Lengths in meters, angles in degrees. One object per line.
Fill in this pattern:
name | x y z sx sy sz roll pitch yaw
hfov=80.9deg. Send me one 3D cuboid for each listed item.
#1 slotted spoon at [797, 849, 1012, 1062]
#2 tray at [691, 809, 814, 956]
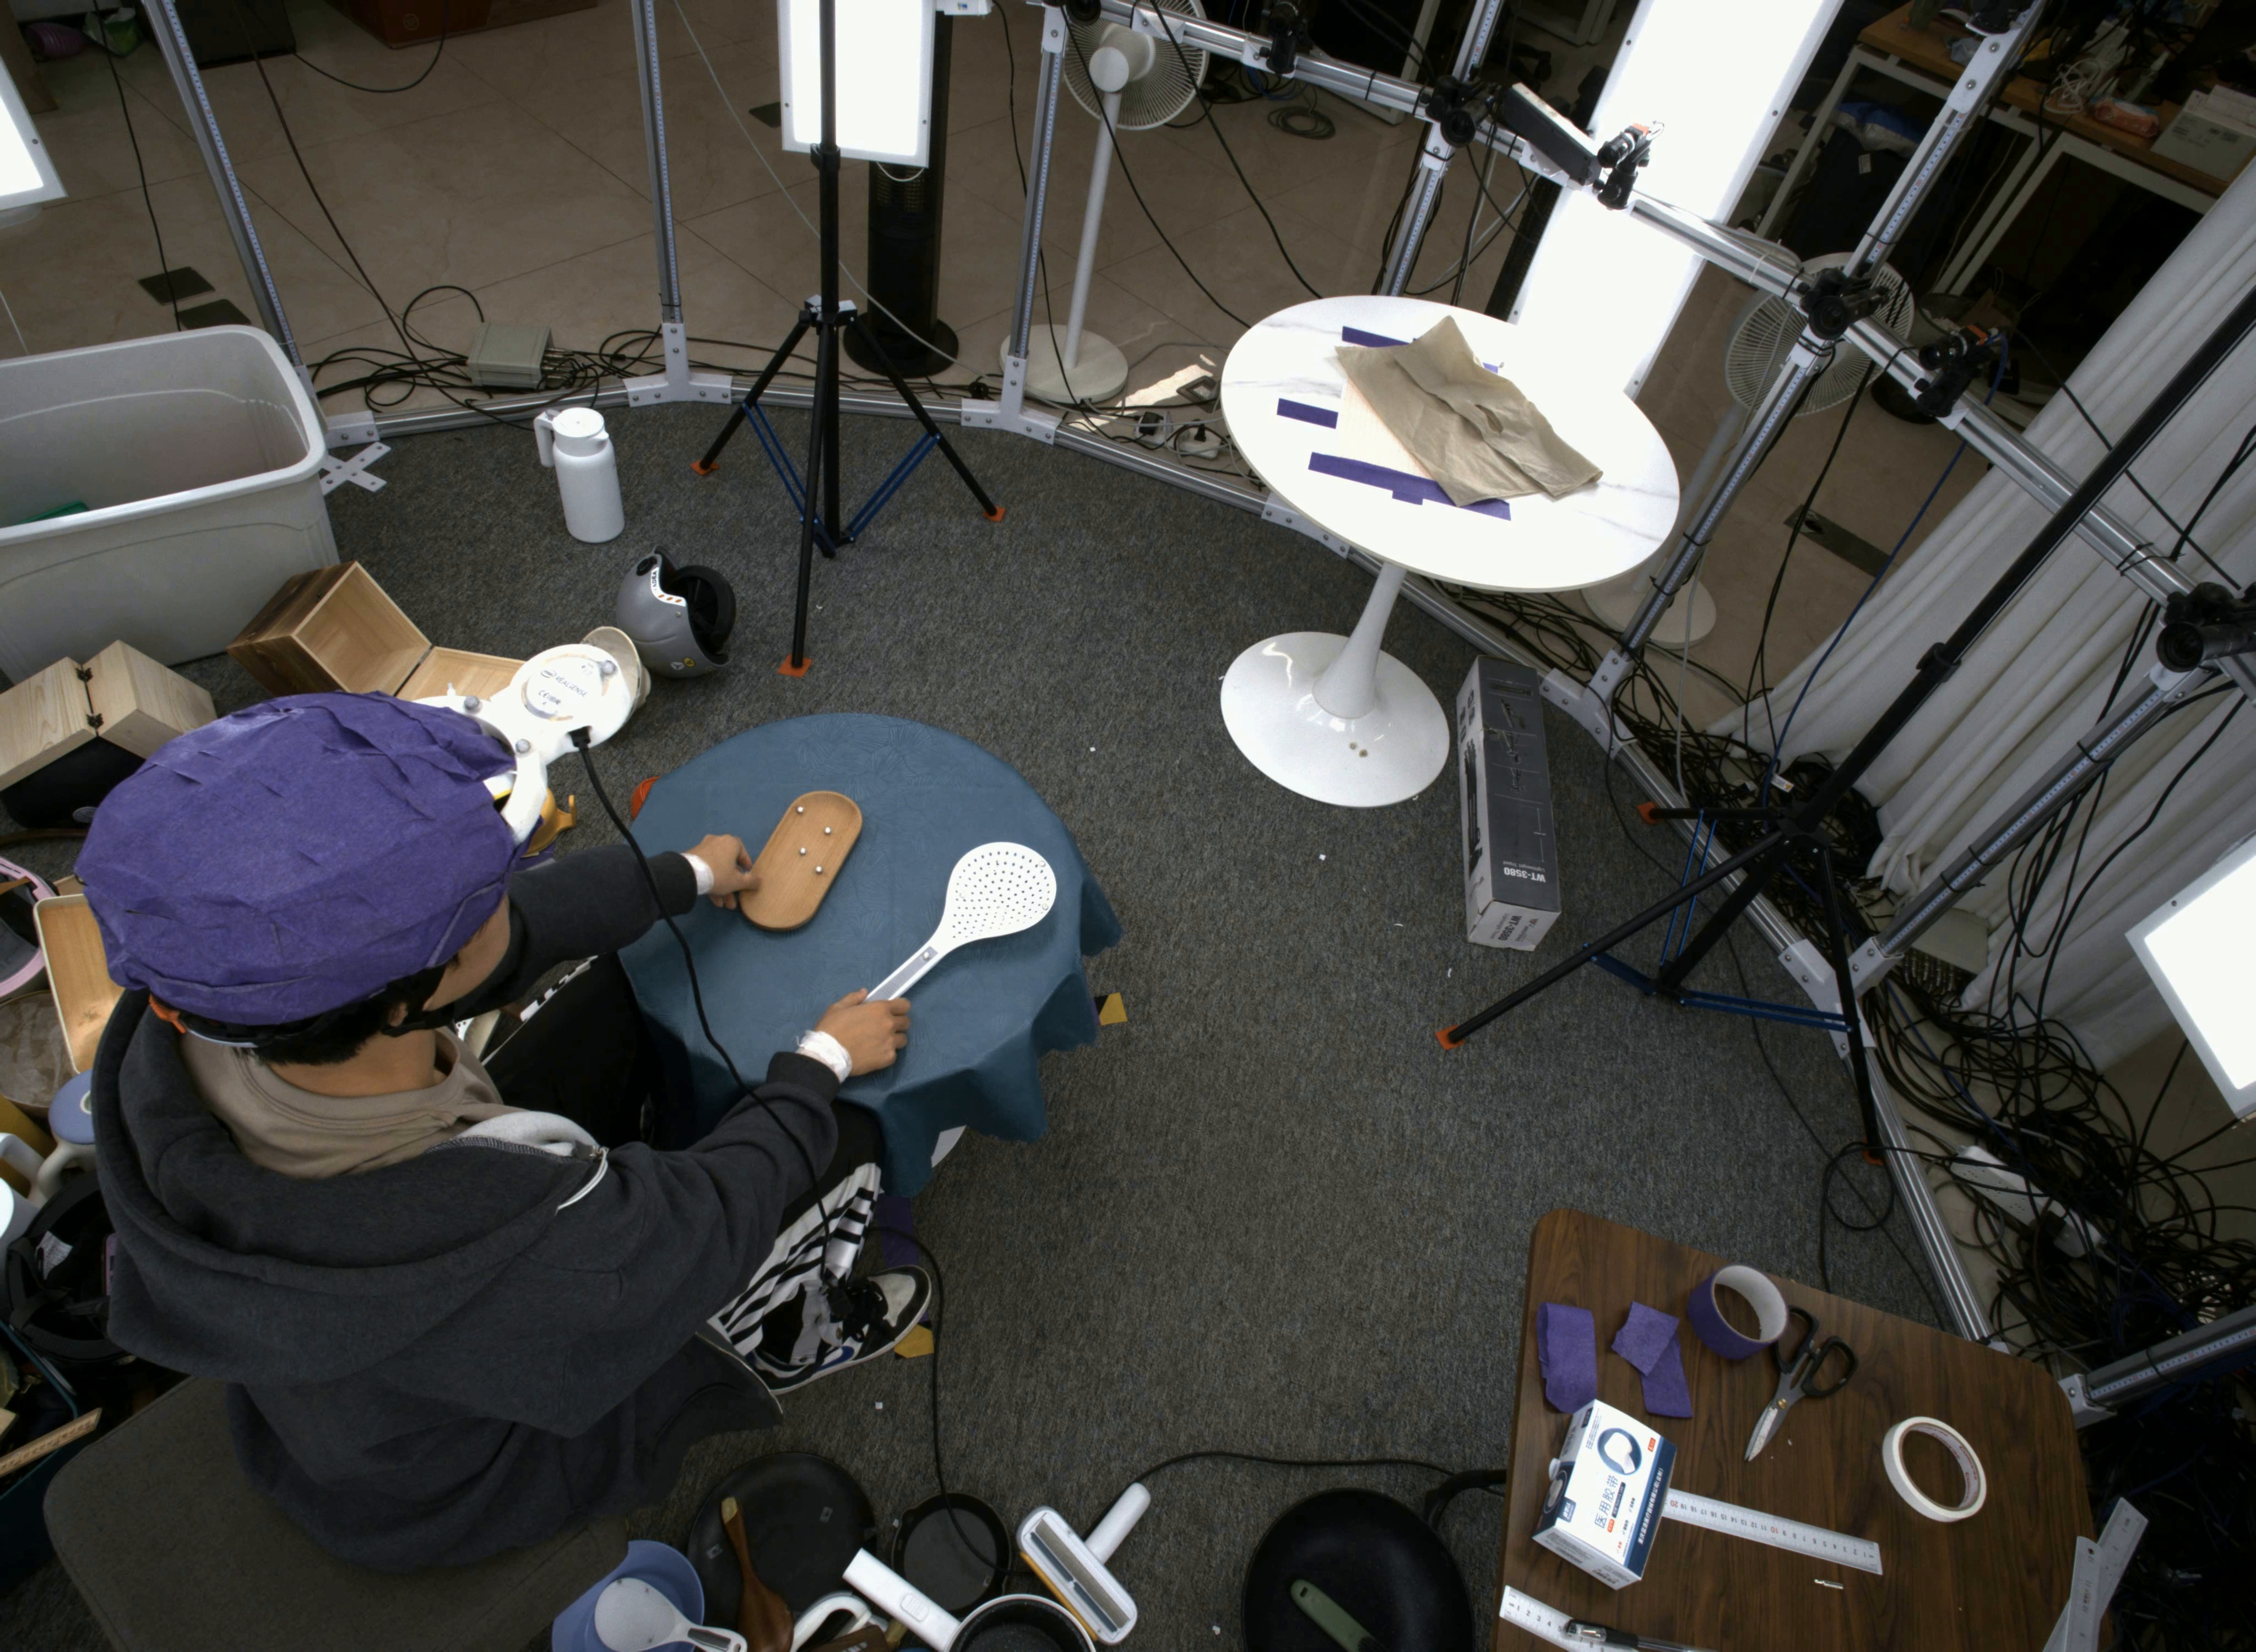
slotted spoon | -0.280 0.158 1.618 0.133 0.047 0.349 34 54 15
tray | -0.477 0.068 1.654 0.101 0.021 0.228 17 53 0
